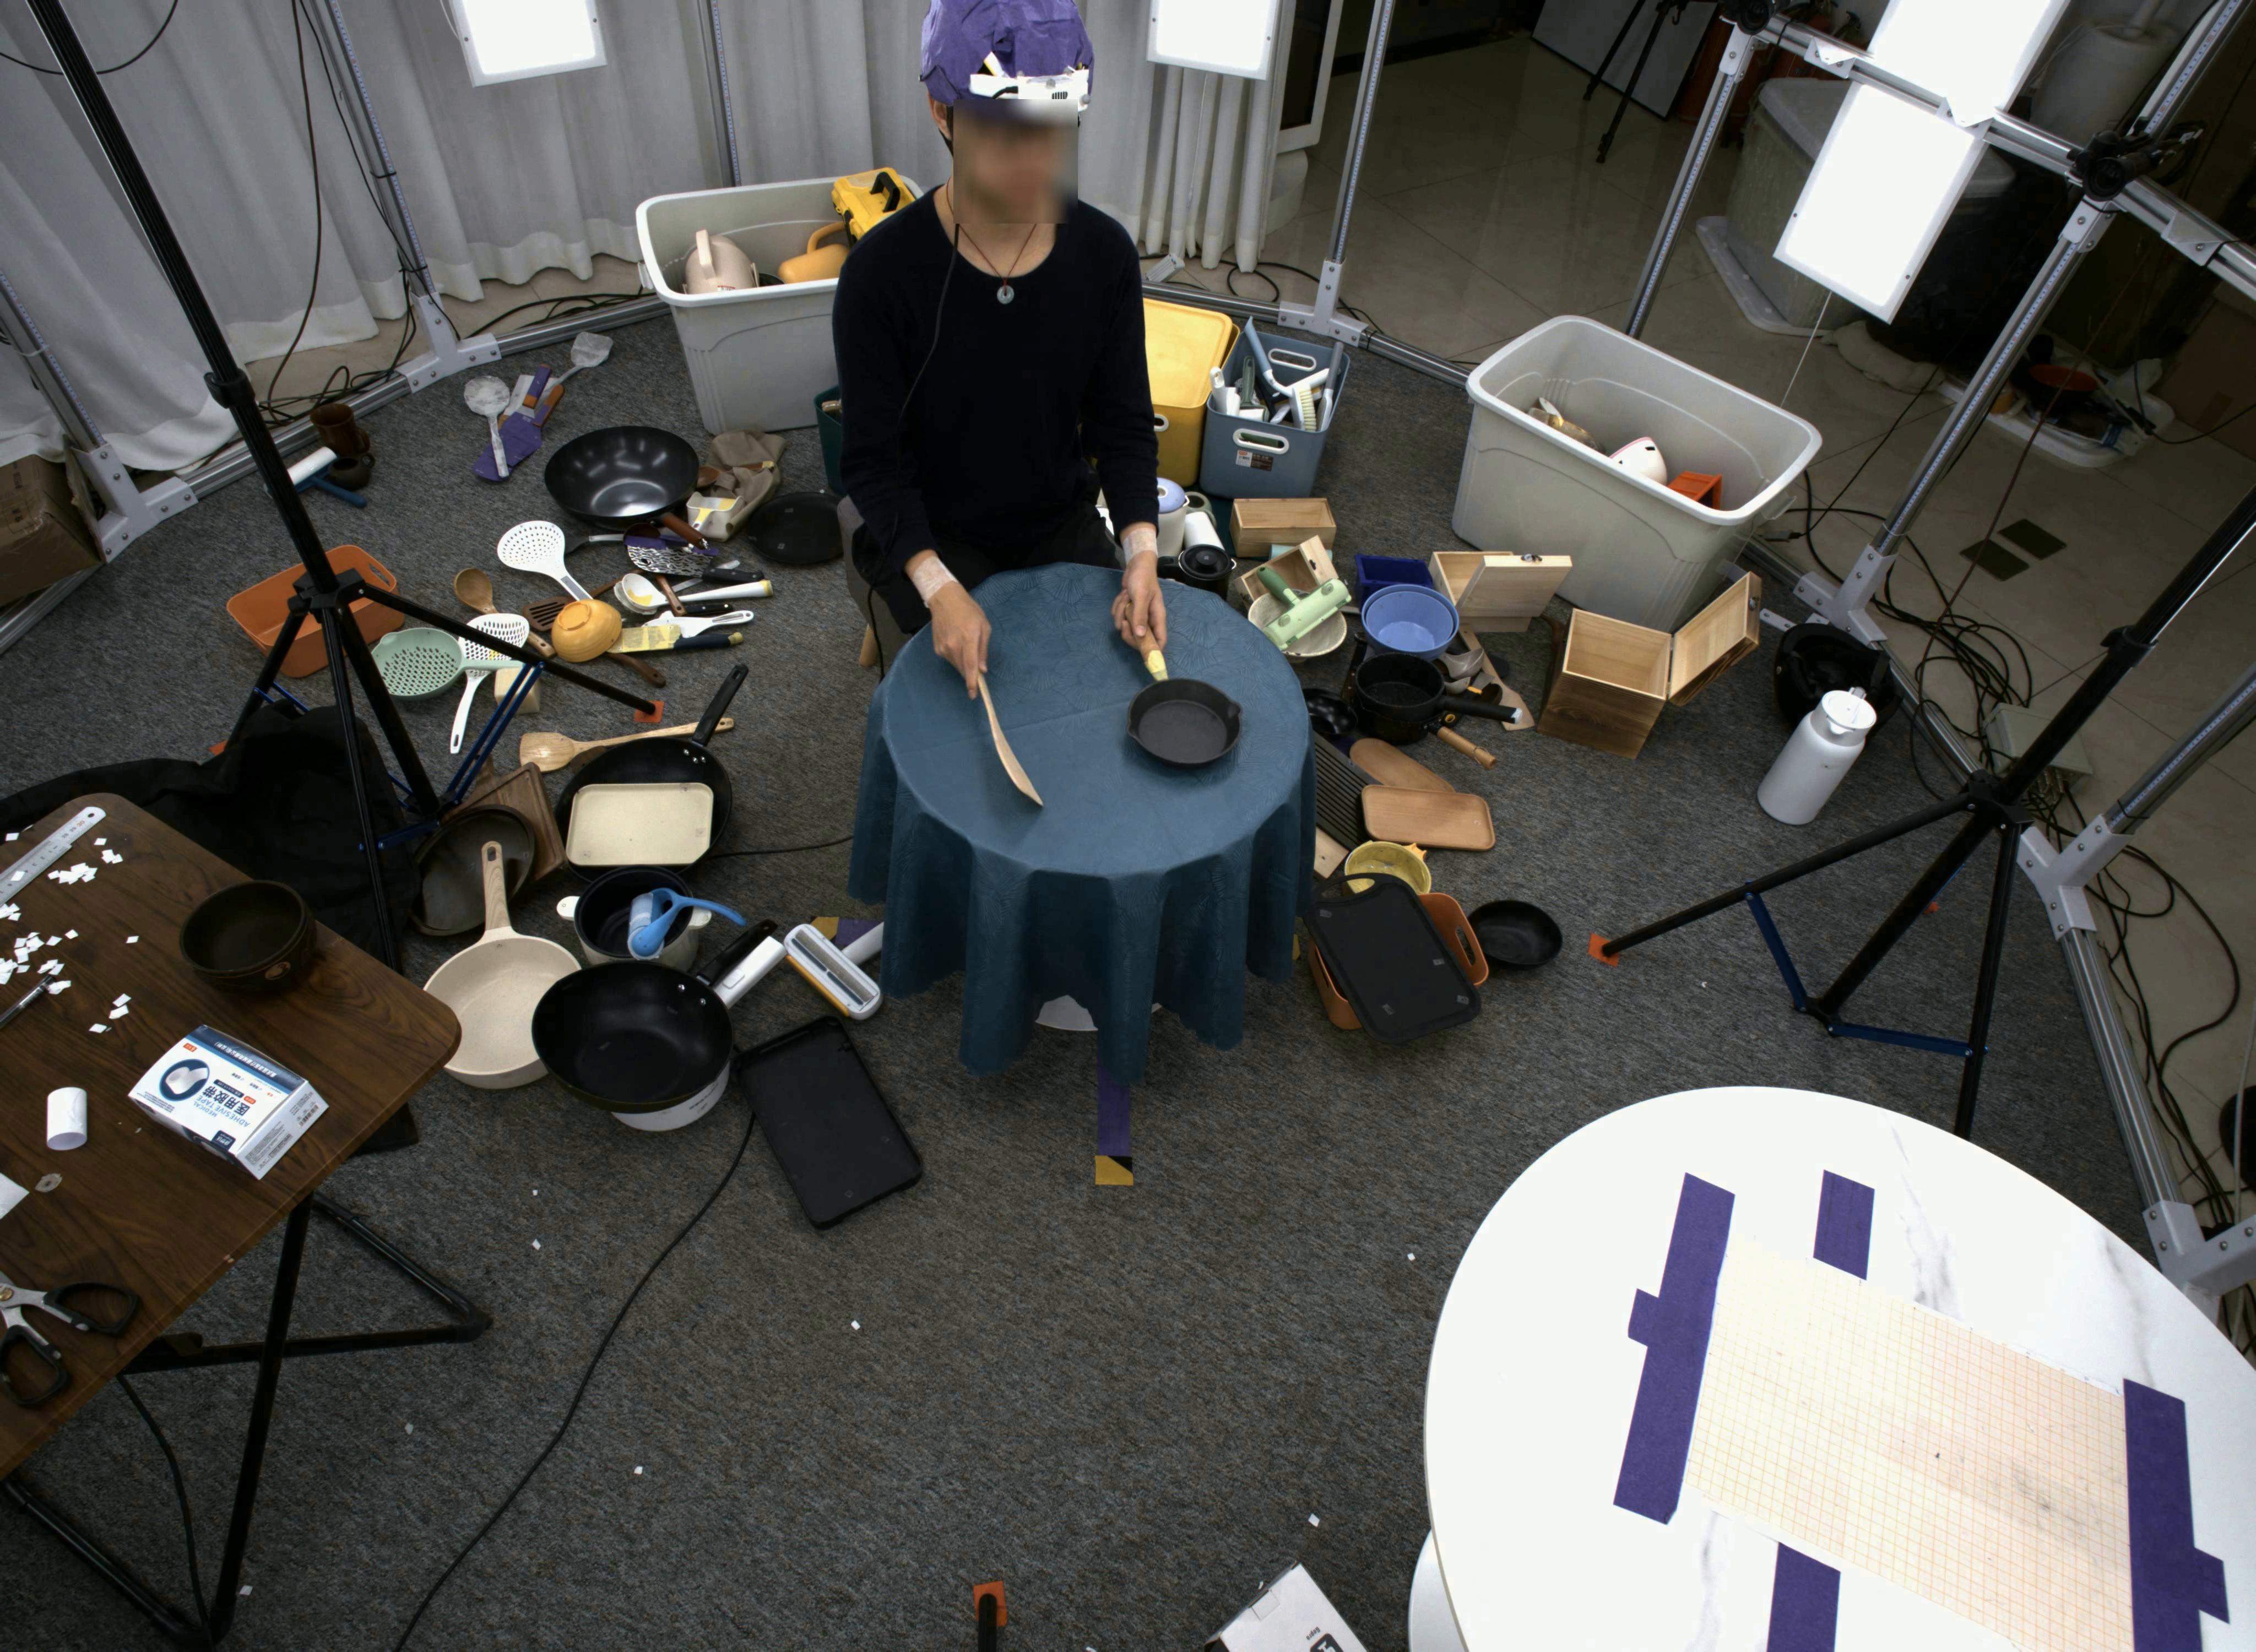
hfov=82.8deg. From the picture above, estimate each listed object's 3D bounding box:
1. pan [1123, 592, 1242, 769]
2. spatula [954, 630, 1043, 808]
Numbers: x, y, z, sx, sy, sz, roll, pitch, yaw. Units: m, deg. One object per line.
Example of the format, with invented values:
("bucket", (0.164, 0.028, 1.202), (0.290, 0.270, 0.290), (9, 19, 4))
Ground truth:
("pan", (0.052, -0.208, 1.814), (0.169, 0.048, 0.332), (-11, 54, -14))
("spatula", (-0.182, -0.151, 1.738), (0.016, 0.078, 0.335), (-31, 55, 10))
